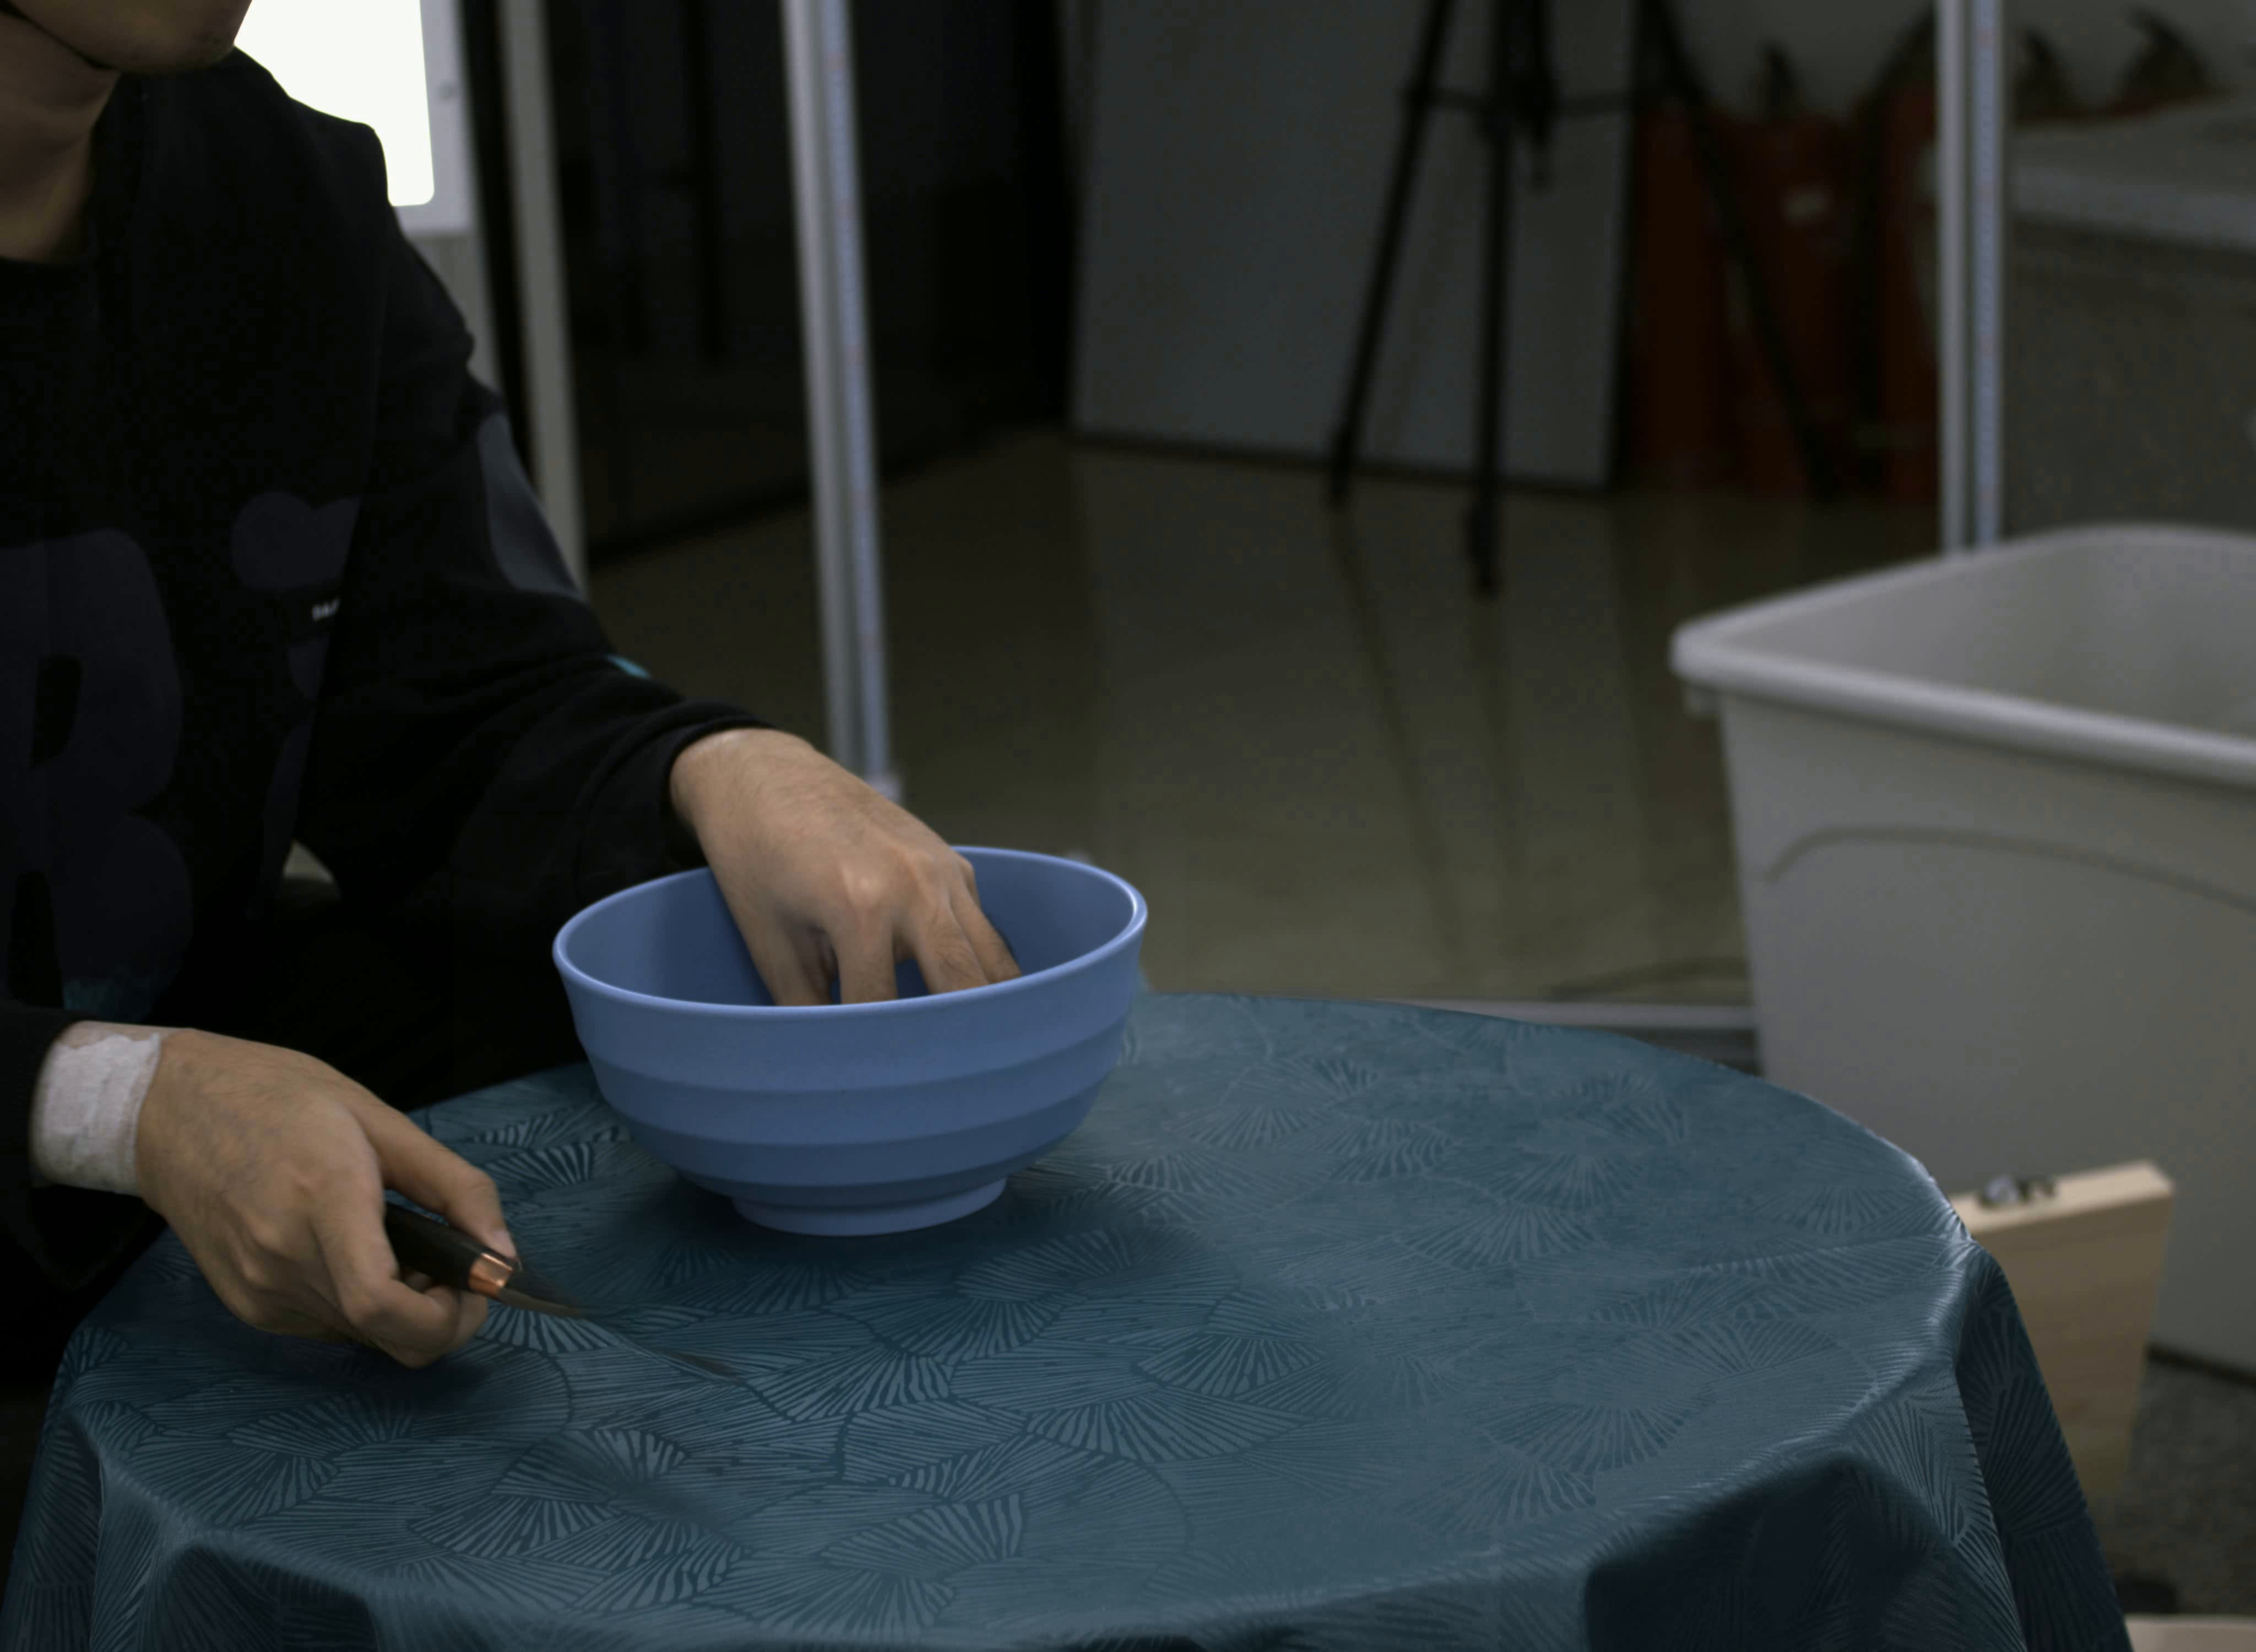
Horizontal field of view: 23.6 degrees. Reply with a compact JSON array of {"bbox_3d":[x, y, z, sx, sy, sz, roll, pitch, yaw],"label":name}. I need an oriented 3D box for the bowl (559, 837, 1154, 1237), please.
[{"bbox_3d":[-0.088,0.075,1.774,0.194,0.096,0.197,-1,15,-1],"label":"bowl"}]

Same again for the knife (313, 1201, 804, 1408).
[{"bbox_3d":[-0.171,0.141,1.591,0.025,0.017,0.228,22,-5,-43],"label":"knife"}]
